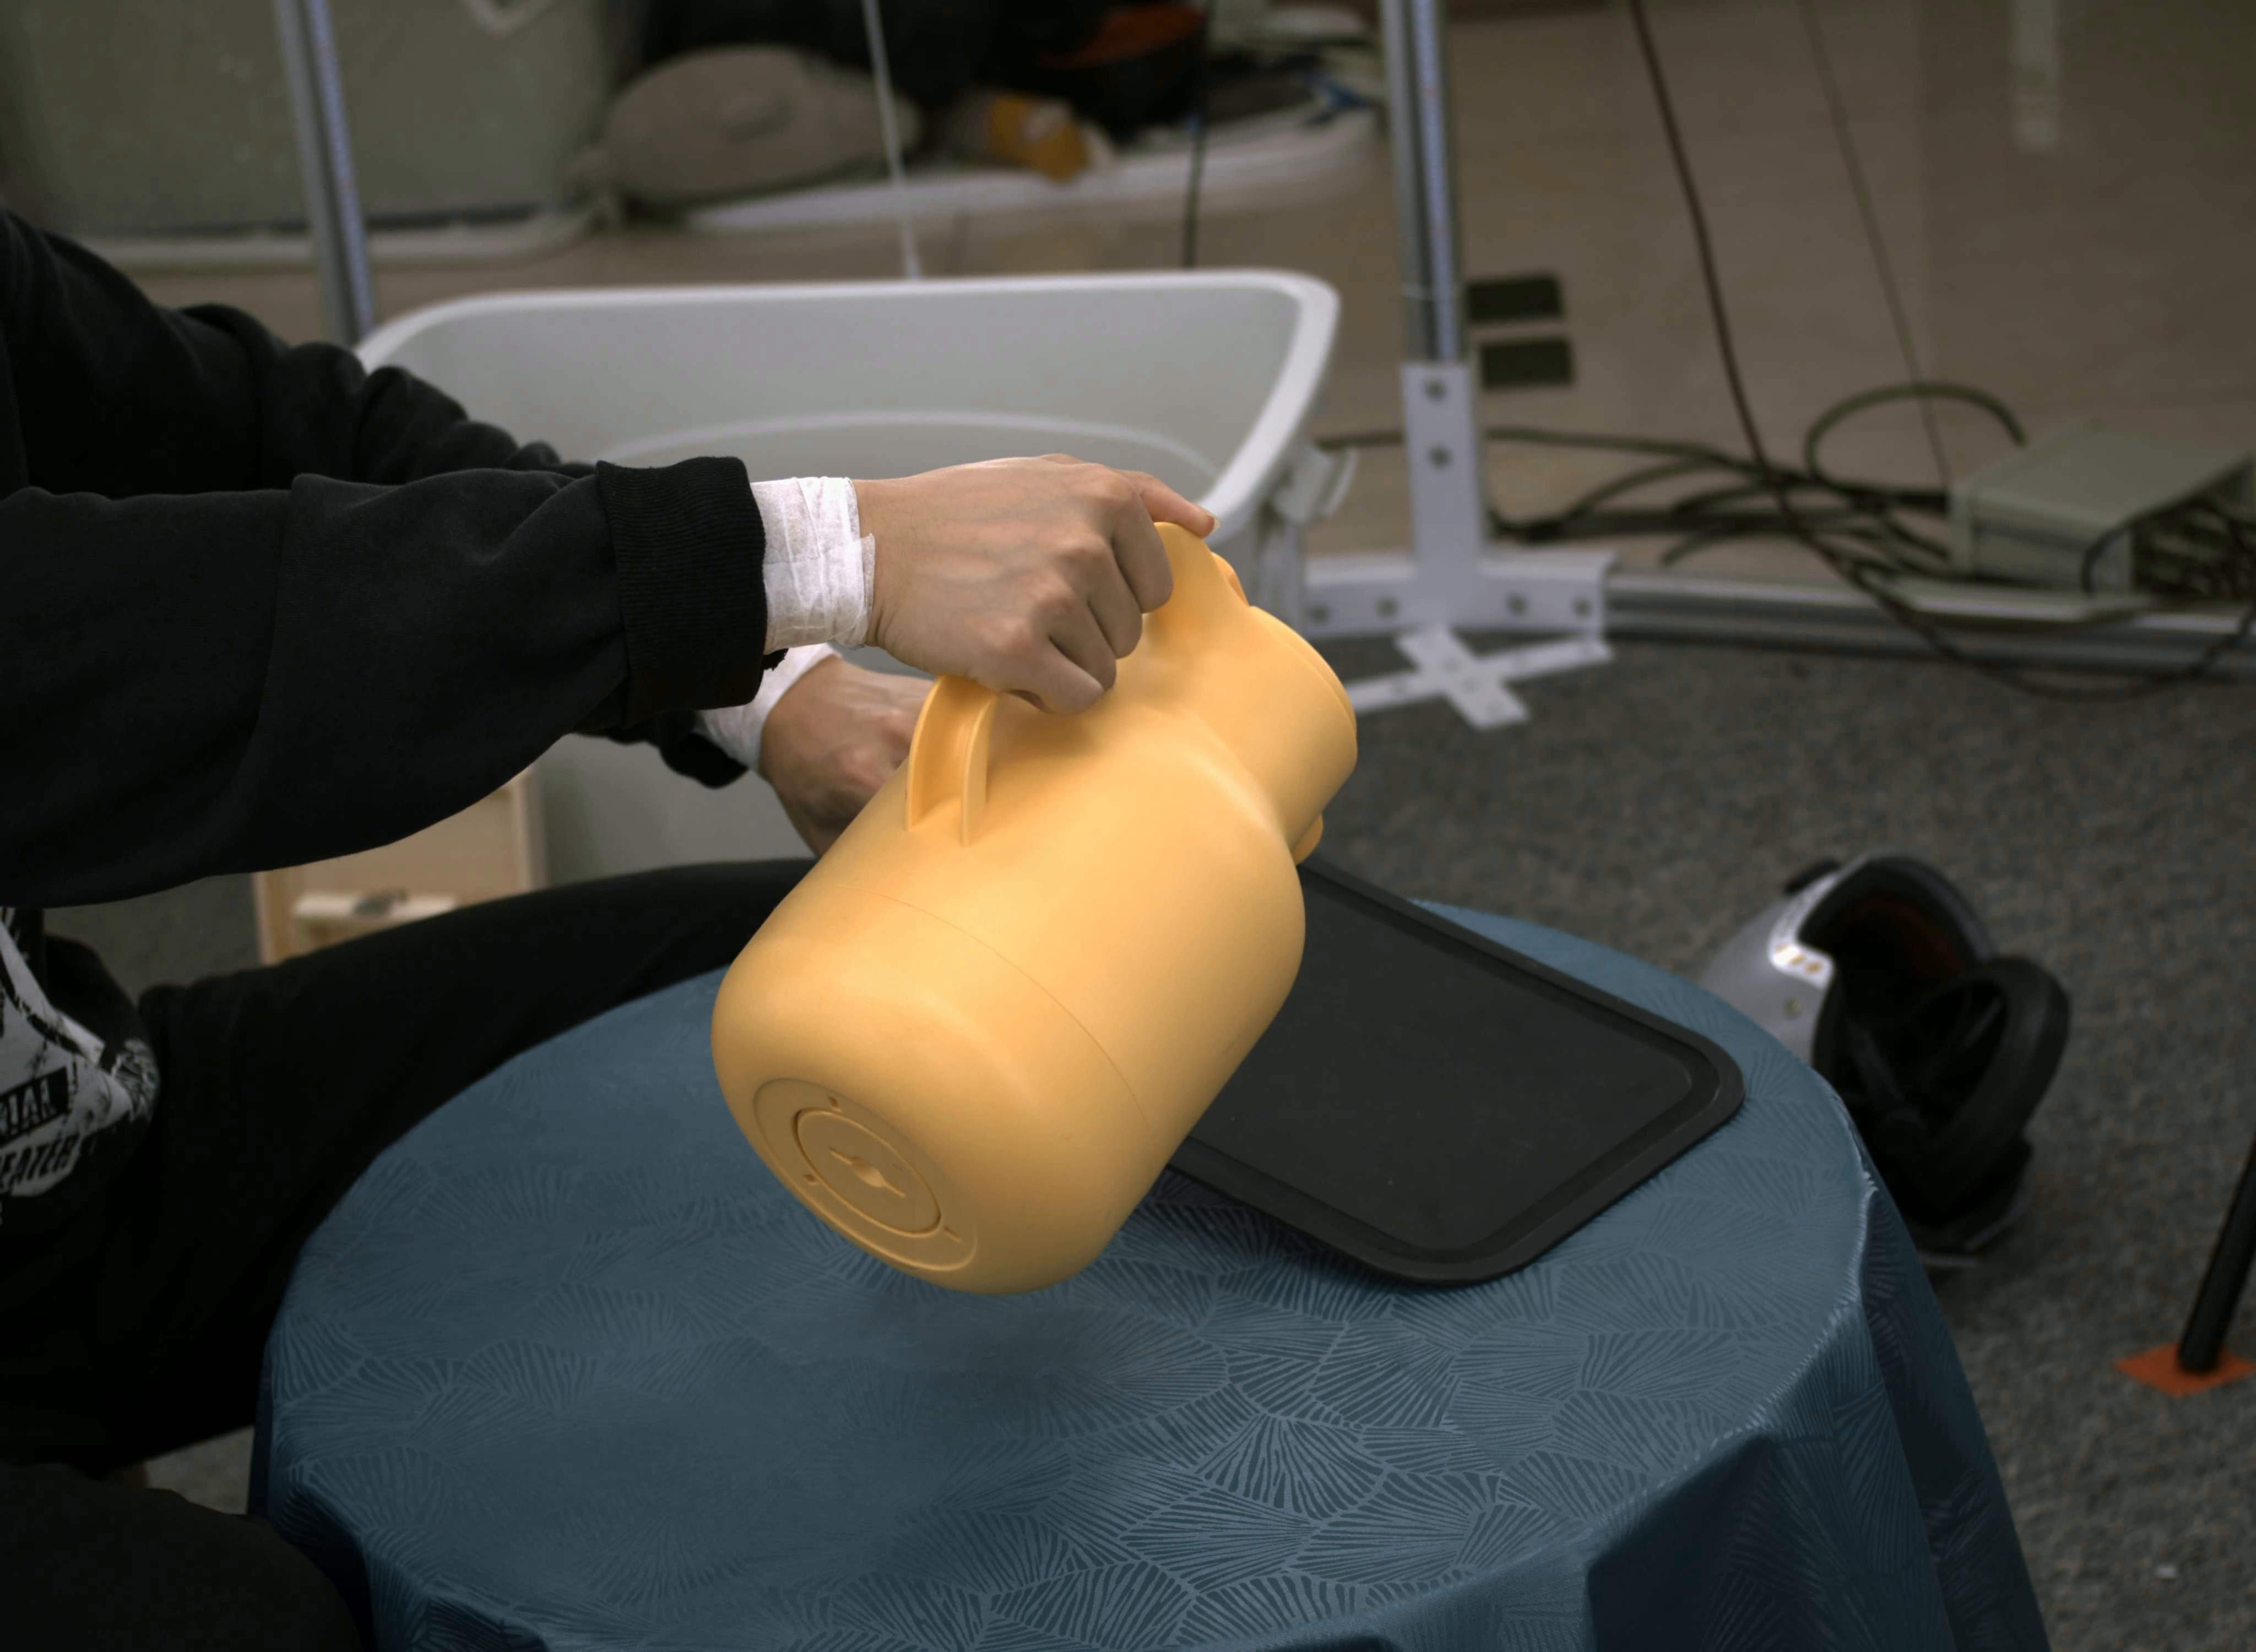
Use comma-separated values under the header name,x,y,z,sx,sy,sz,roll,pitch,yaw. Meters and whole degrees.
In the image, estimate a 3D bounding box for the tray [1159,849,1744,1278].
name,x,y,z,sx,sy,sz,roll,pitch,yaw
tray,0.063,0.077,2.193,0.322,0.010,0.209,26,38,33

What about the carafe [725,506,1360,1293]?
name,x,y,z,sx,sy,sz,roll,pitch,yaw
carafe,-0.025,0.016,1.998,0.162,0.206,0.257,12,52,35
